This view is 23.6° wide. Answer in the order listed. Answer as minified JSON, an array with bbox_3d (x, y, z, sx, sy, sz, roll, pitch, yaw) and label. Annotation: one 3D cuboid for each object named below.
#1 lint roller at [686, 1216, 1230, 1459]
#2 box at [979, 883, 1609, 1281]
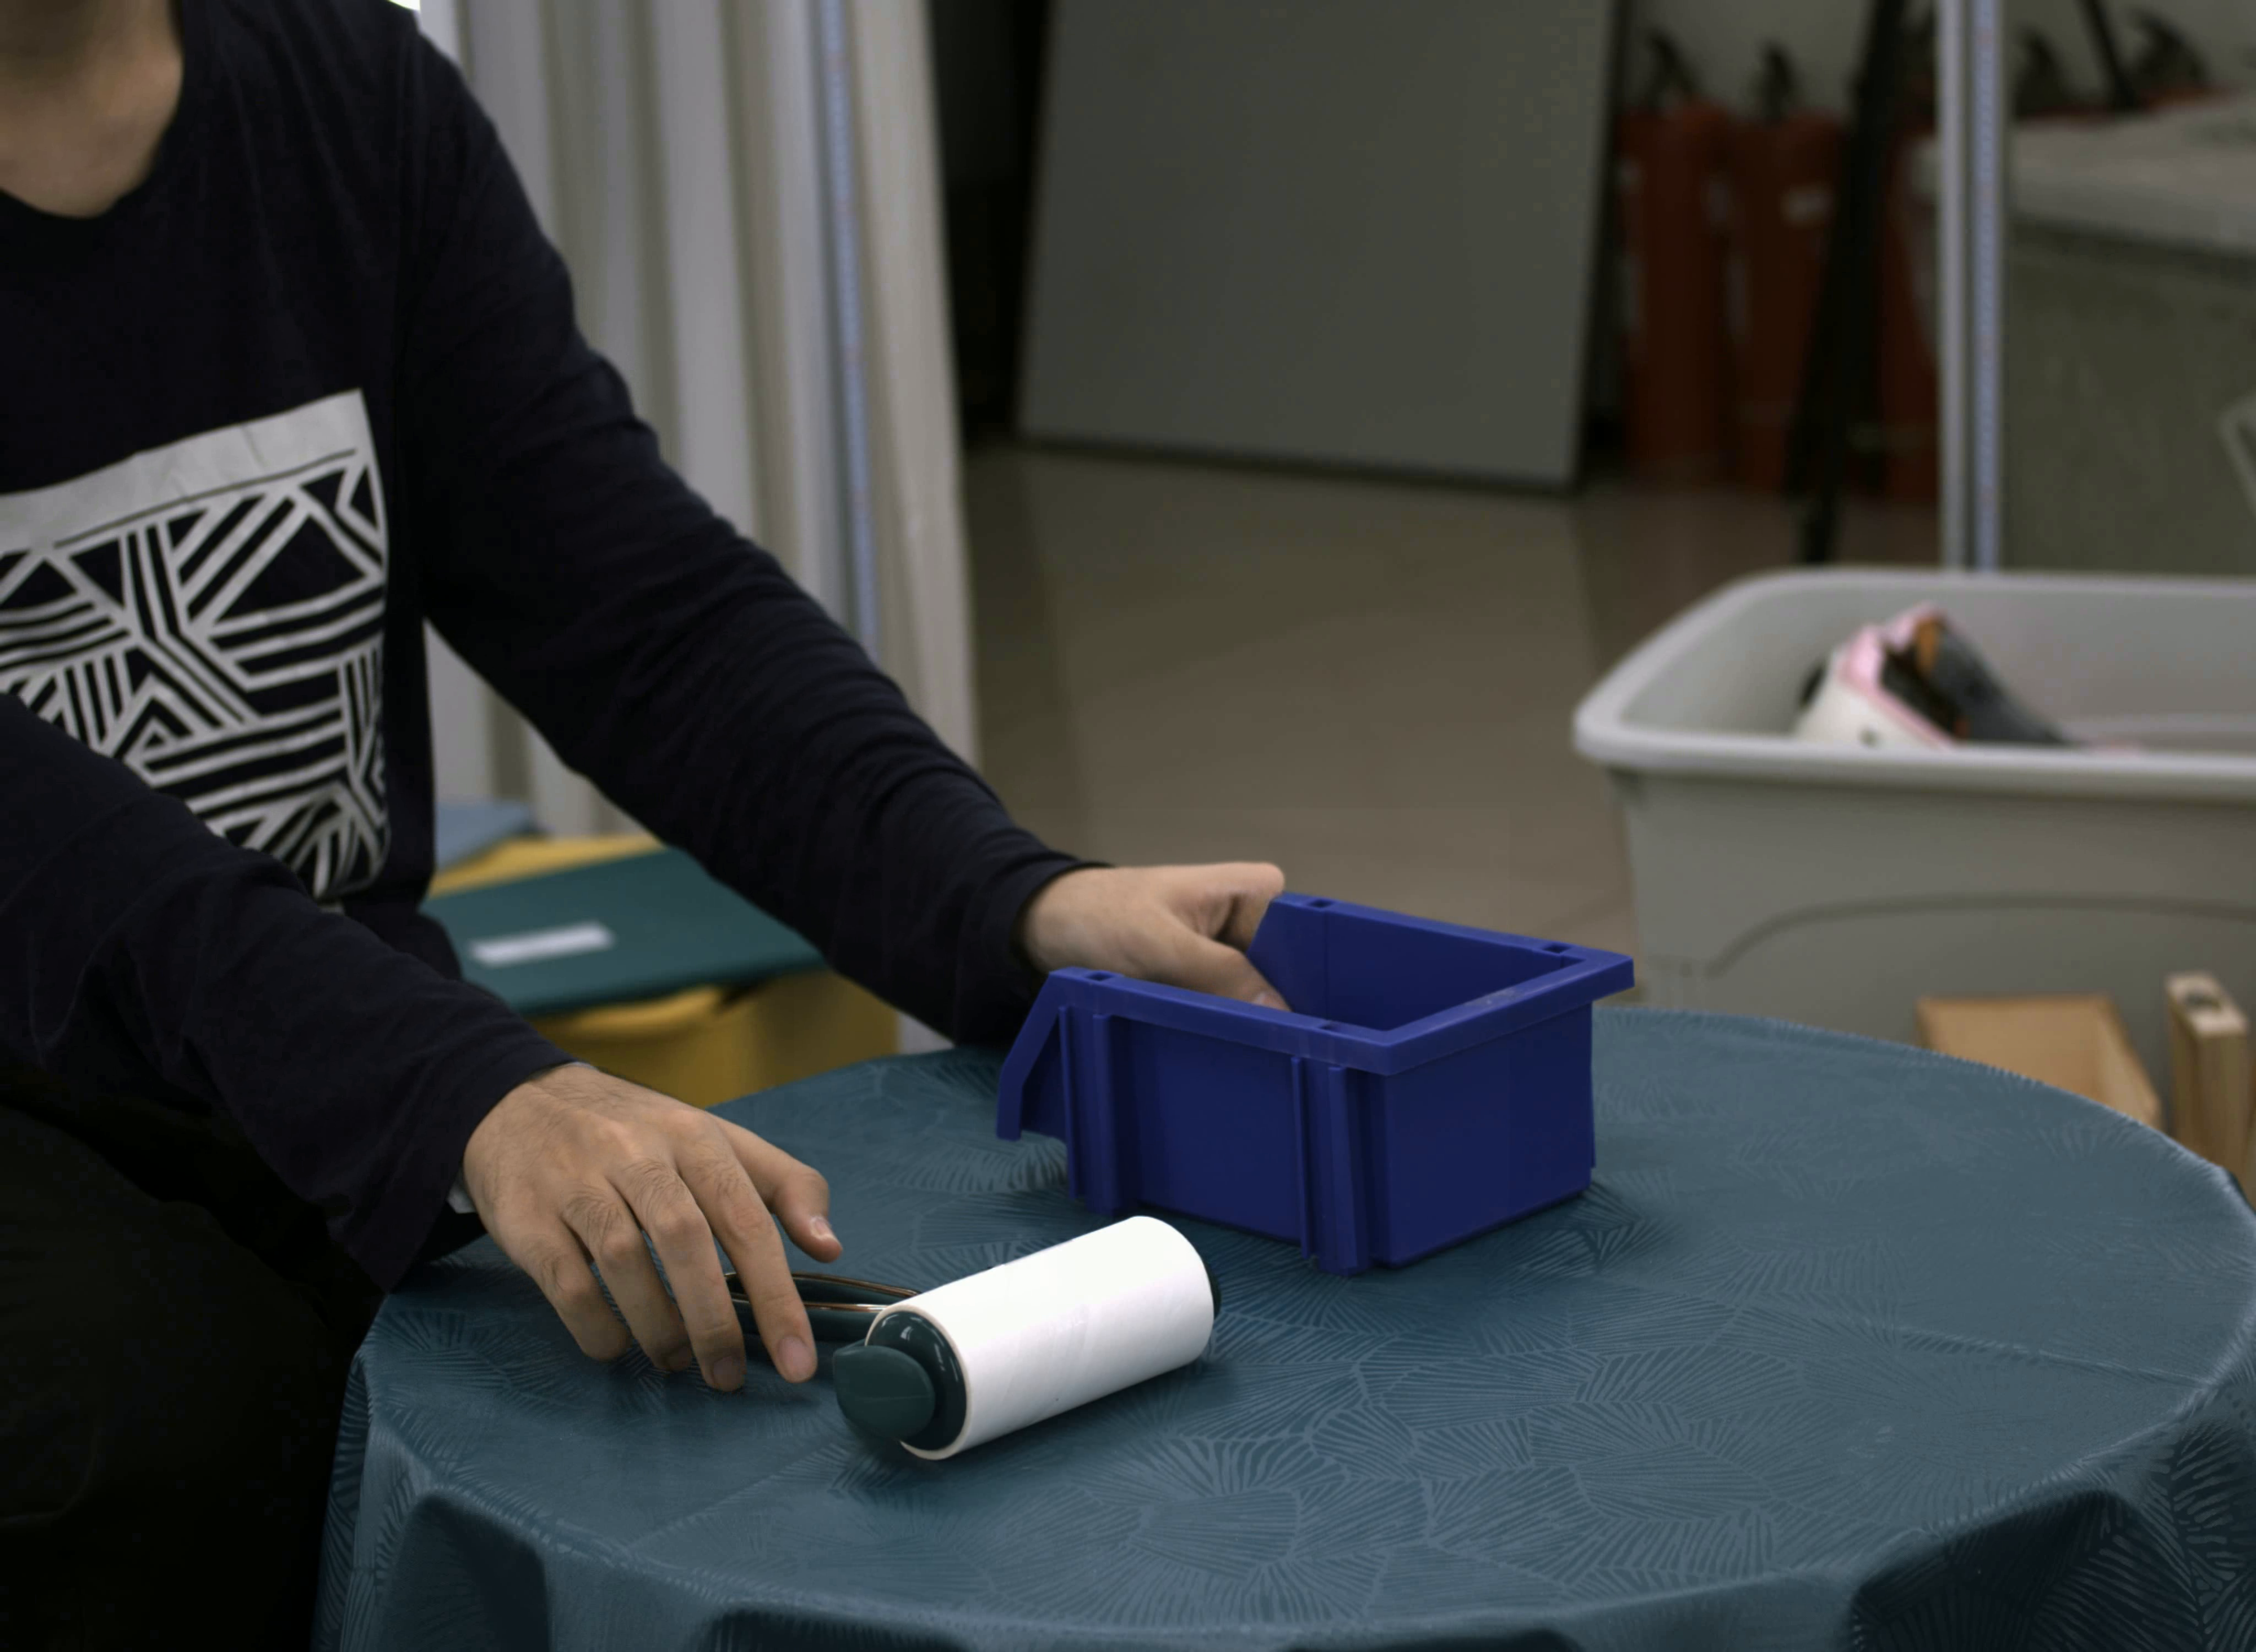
[{"bbox_3d":[-0.073,0.144,1.617,0.131,0.049,0.182,-15,14,-42],"label":"lint roller"},{"bbox_3d":[0.051,0.080,1.757,0.122,0.083,0.181,-17,21,-40],"label":"box"}]
